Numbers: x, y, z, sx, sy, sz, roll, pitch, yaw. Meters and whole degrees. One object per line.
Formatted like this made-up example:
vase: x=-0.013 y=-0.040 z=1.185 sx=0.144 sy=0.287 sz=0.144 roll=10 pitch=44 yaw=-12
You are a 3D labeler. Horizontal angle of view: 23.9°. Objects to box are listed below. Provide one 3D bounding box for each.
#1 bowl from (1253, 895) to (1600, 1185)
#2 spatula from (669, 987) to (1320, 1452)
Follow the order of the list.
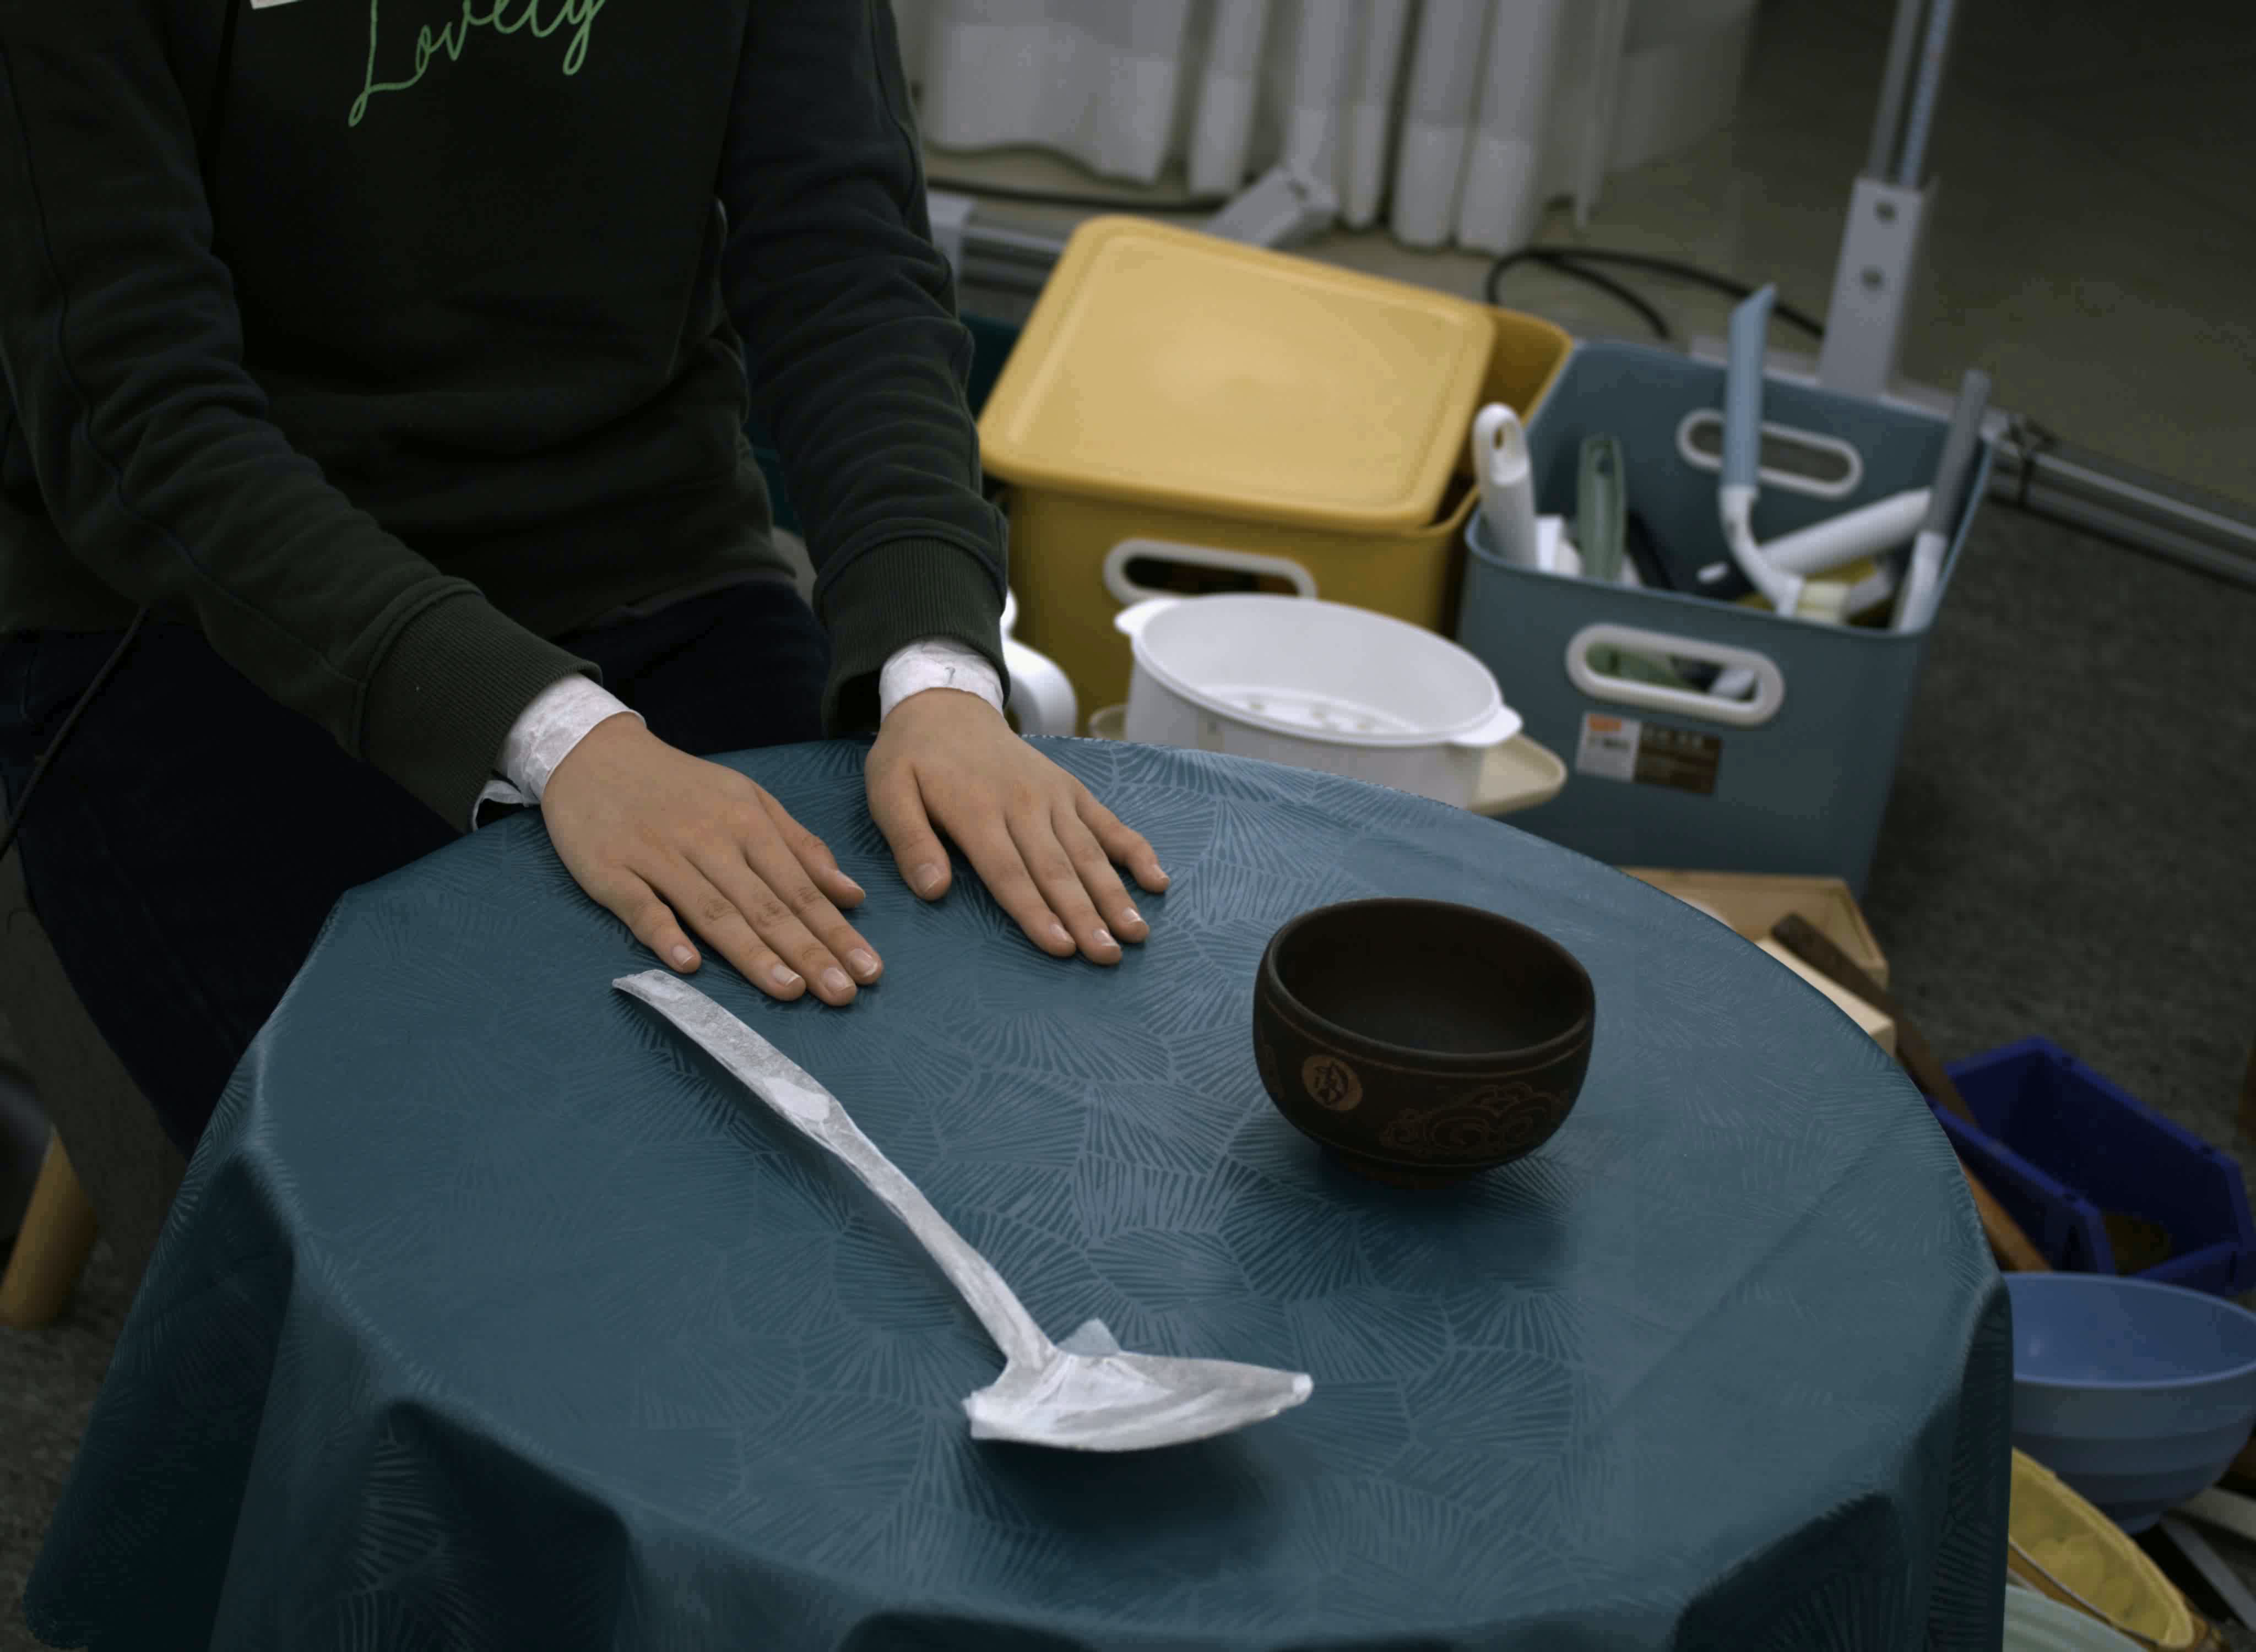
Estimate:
bowl: x=0.100 y=0.080 z=1.830 sx=0.117 sy=0.069 sz=0.119 roll=6 pitch=25 yaw=-3
spatula: x=-0.068 y=0.121 z=1.748 sx=0.098 sy=0.044 sz=0.368 roll=-12 pitch=32 yaw=-29
